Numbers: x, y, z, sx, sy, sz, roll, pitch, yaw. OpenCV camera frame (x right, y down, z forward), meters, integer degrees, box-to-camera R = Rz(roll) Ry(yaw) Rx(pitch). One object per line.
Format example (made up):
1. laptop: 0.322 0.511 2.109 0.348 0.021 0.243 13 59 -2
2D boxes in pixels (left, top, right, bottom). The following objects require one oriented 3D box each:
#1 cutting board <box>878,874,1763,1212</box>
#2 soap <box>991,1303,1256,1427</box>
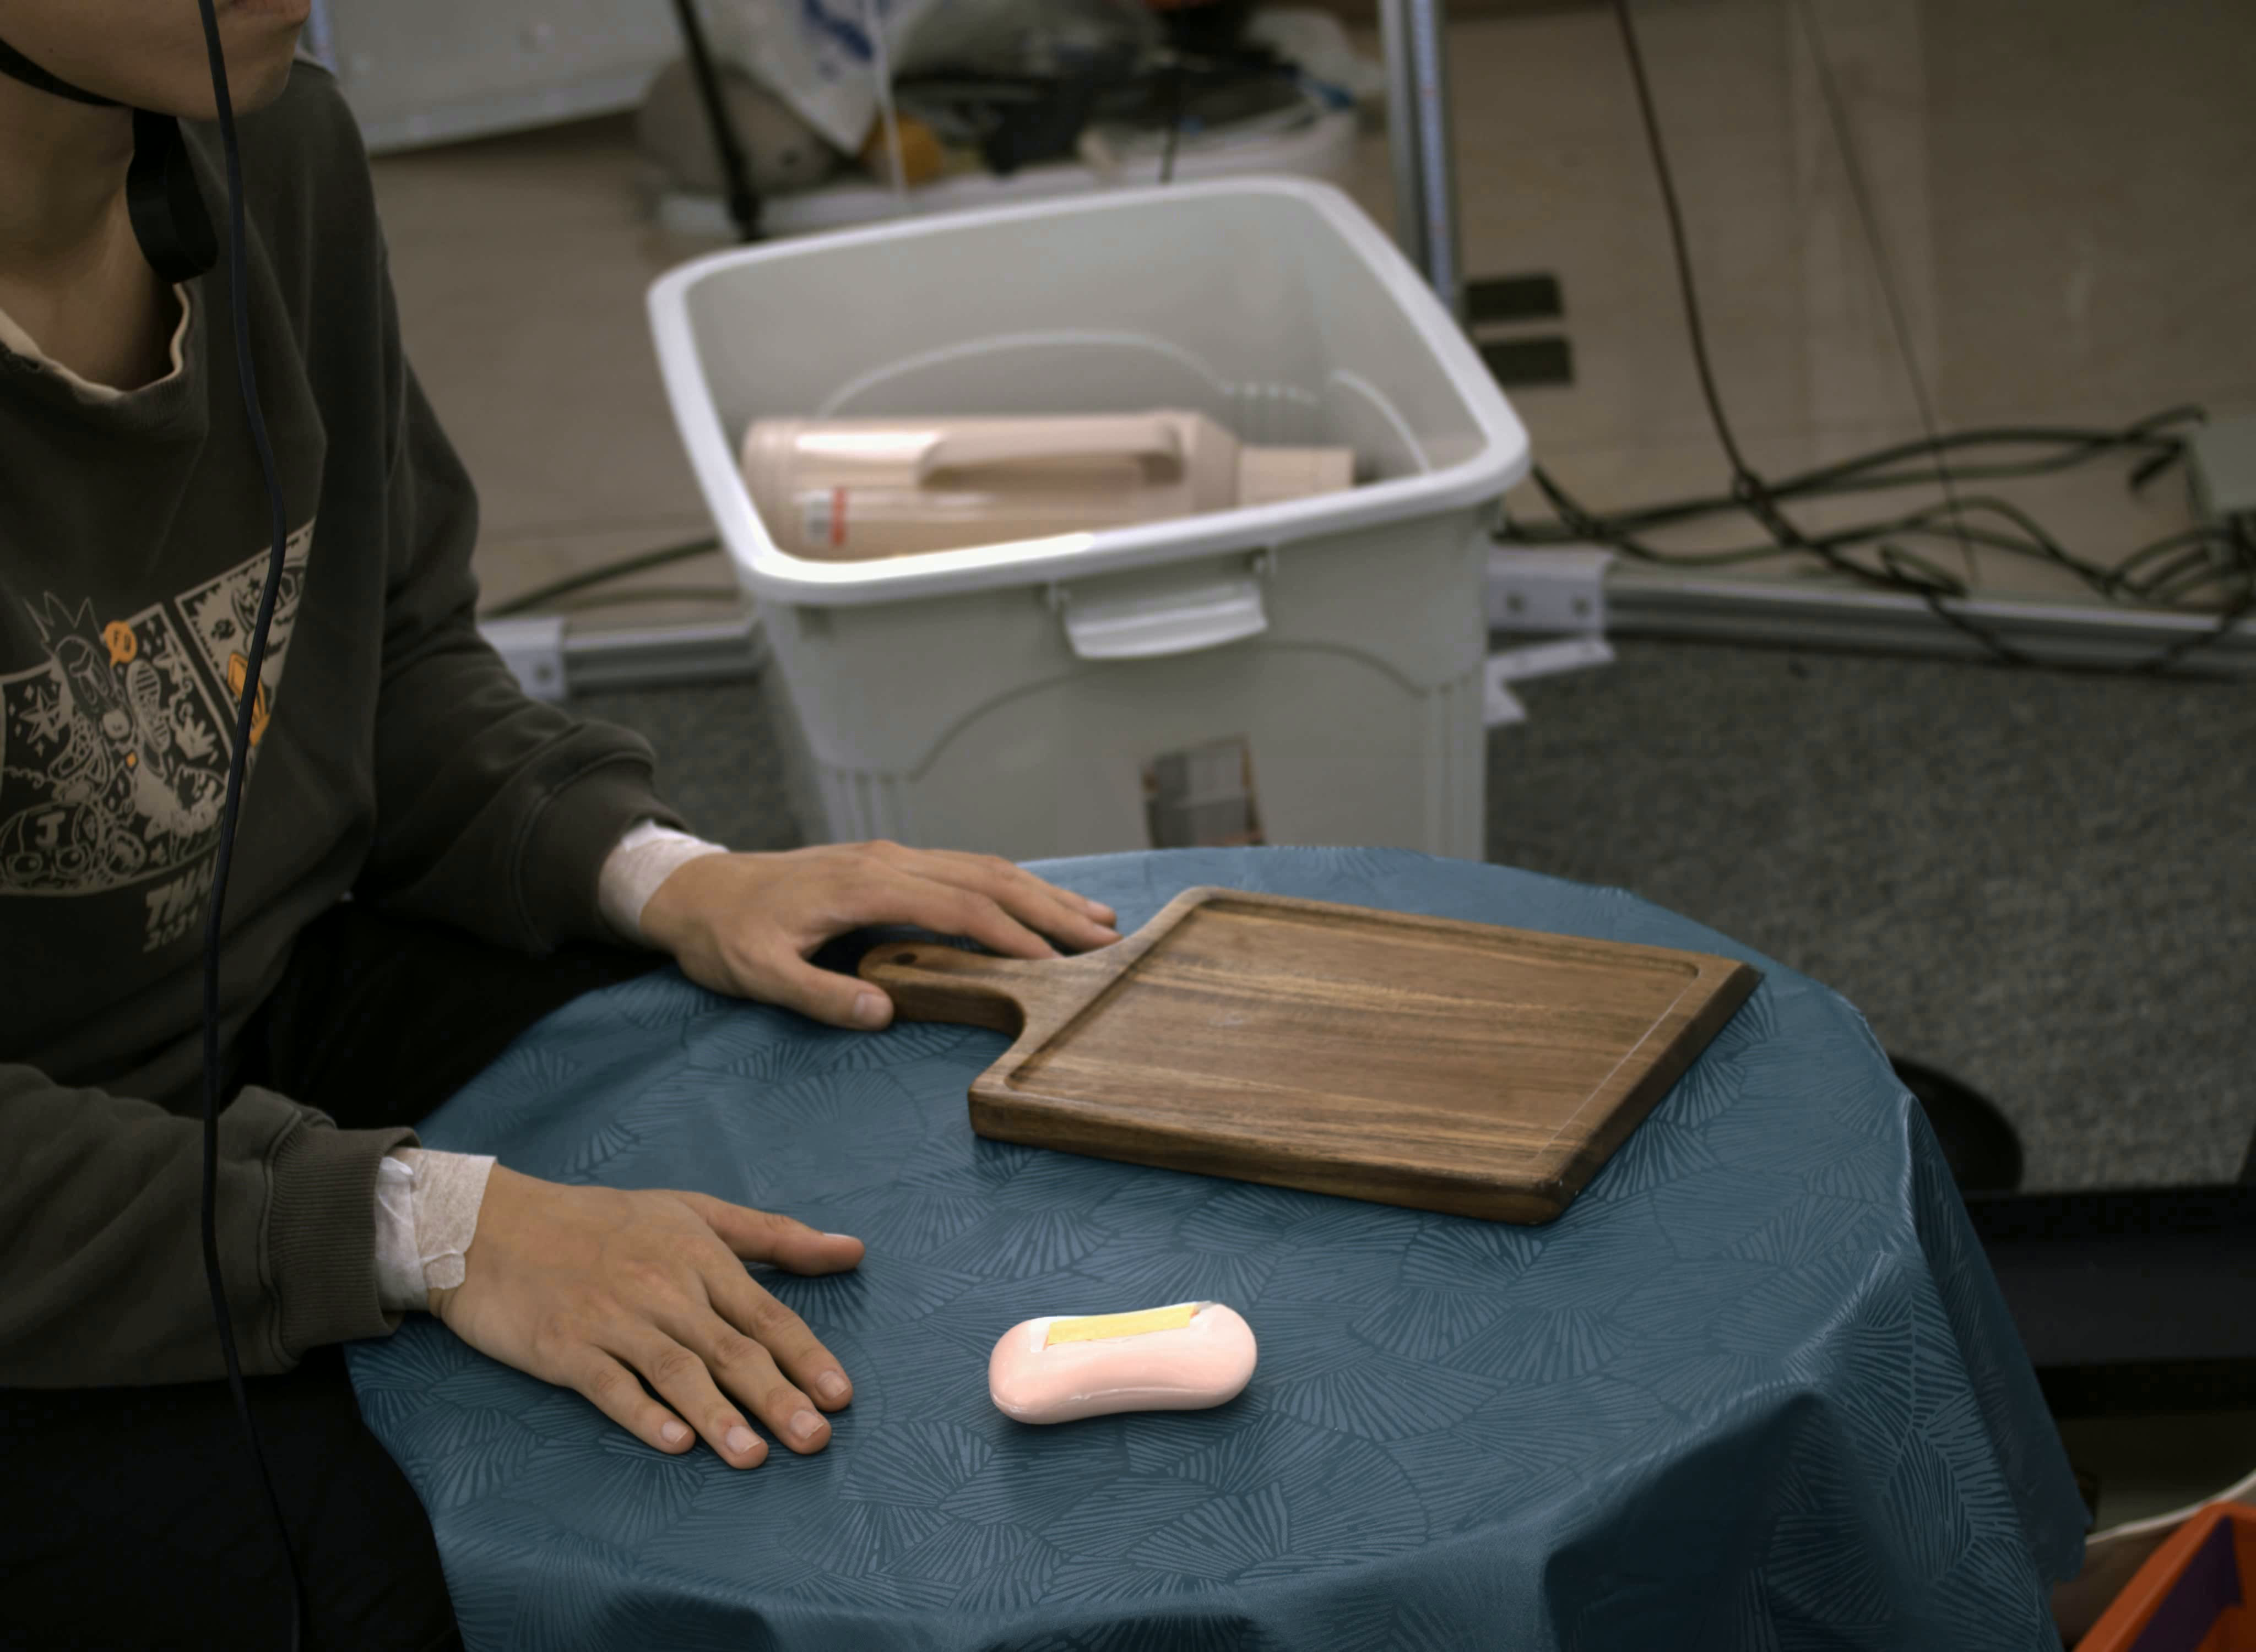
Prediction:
1. cutting board: 0.055 0.075 2.244 0.350 0.023 0.198 8 29 29
2. soap: -0.002 0.190 2.004 0.094 0.031 0.049 -7 24 3
